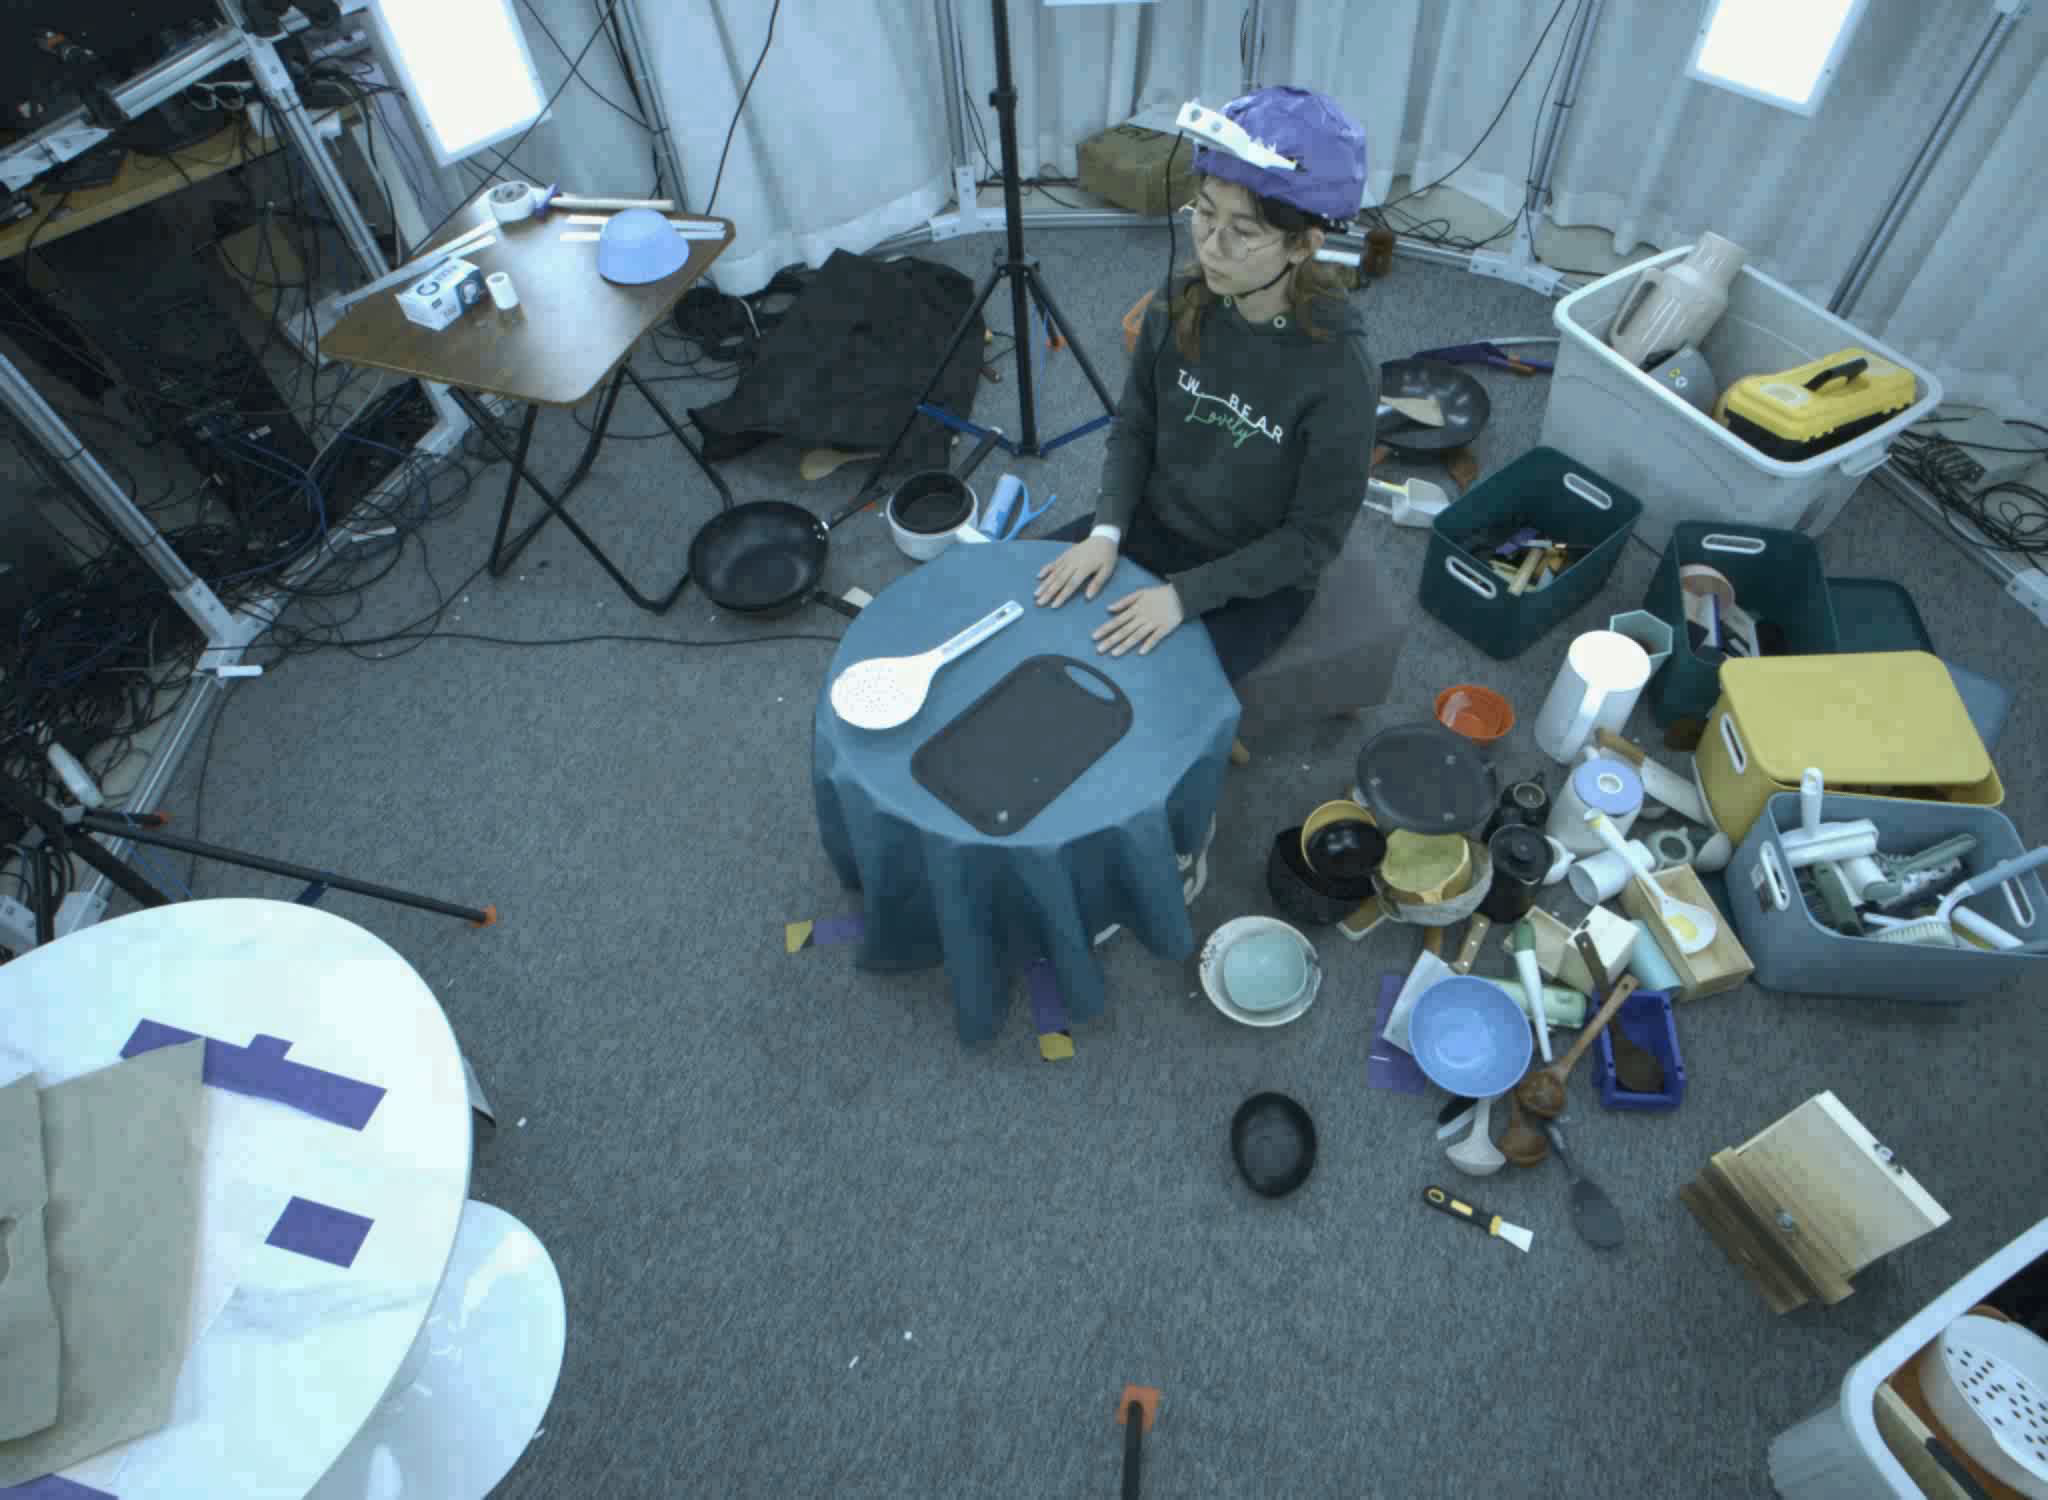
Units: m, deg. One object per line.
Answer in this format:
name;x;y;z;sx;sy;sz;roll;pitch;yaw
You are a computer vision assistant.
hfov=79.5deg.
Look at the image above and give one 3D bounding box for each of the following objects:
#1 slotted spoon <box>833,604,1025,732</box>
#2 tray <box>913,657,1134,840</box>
slotted spoon;-0.135;-0.132;1.867;0.352;0.046;0.134;-38;64;-23
tray;0.006;-0.016;1.804;0.207;0.010;0.327;38;63;24
